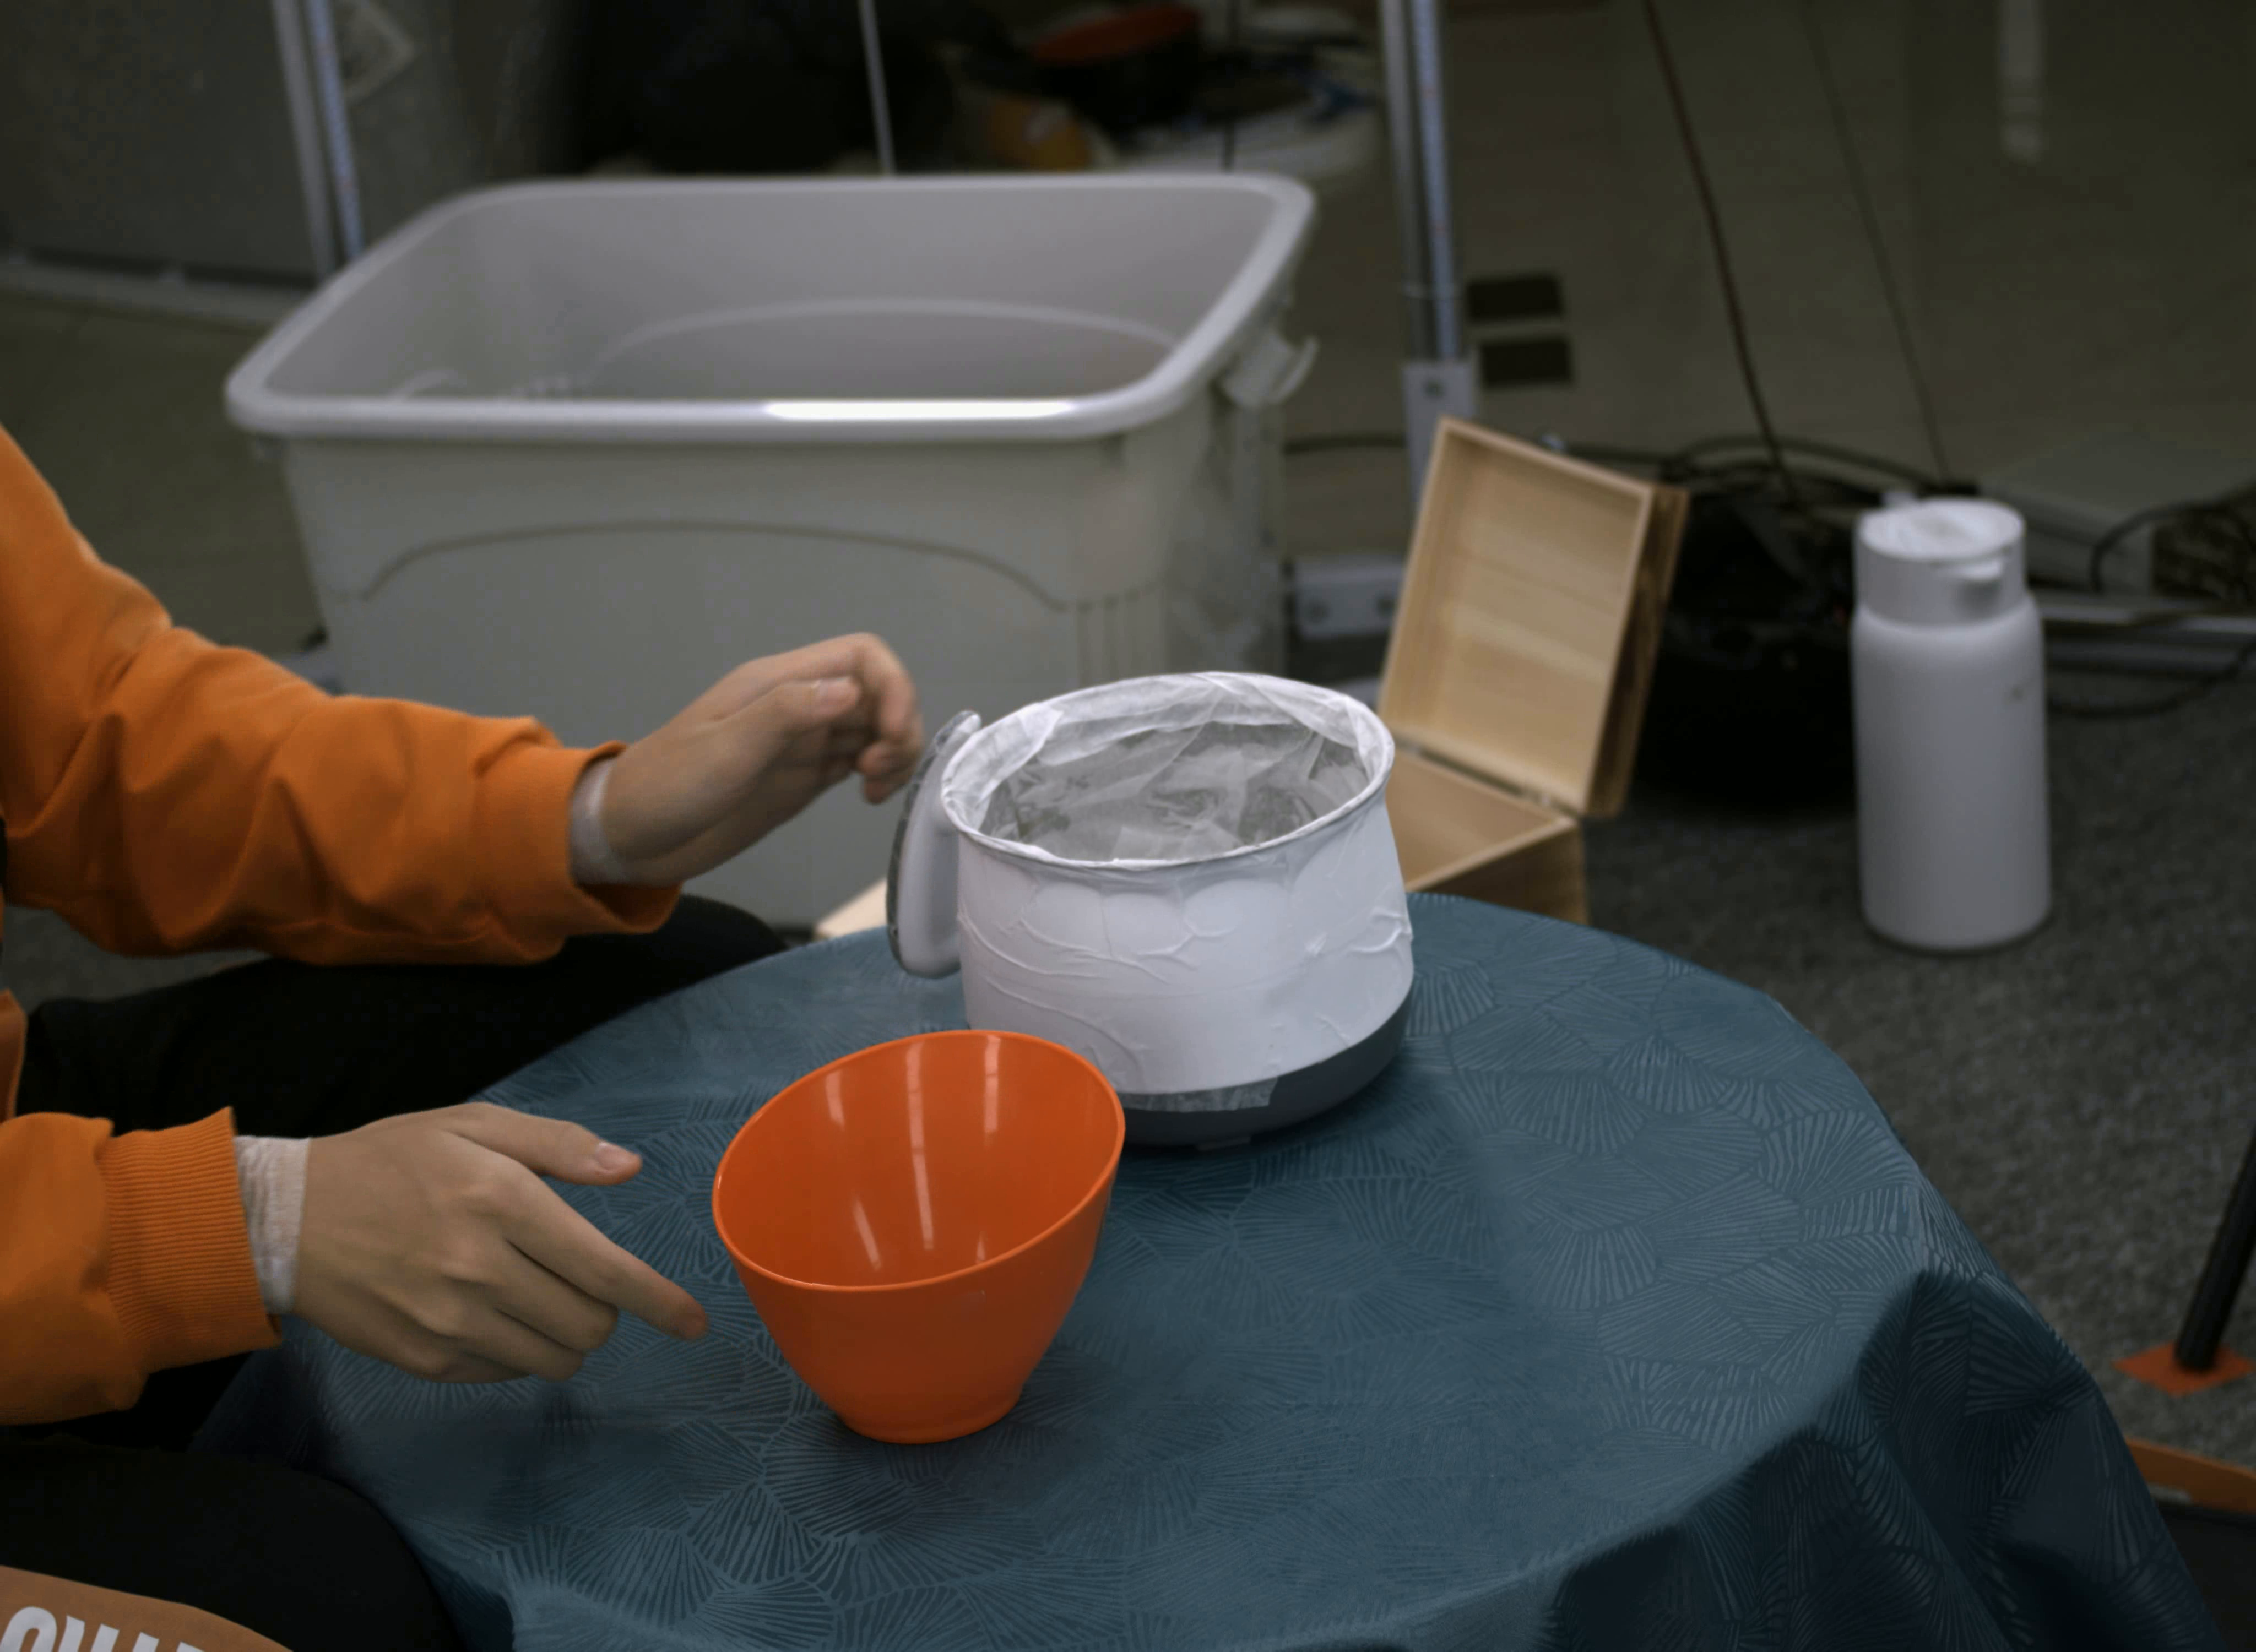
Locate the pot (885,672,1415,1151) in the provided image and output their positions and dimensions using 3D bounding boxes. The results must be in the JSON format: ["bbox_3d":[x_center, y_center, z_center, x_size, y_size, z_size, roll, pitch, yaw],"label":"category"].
[{"bbox_3d":[-0.002,0.029,2.217,0.232,0.139,0.177,12,31,34],"label":"pot"}]

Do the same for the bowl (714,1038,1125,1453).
[{"bbox_3d":[-0.069,0.156,2.012,0.148,0.106,0.146,-6,27,3],"label":"bowl"}]
